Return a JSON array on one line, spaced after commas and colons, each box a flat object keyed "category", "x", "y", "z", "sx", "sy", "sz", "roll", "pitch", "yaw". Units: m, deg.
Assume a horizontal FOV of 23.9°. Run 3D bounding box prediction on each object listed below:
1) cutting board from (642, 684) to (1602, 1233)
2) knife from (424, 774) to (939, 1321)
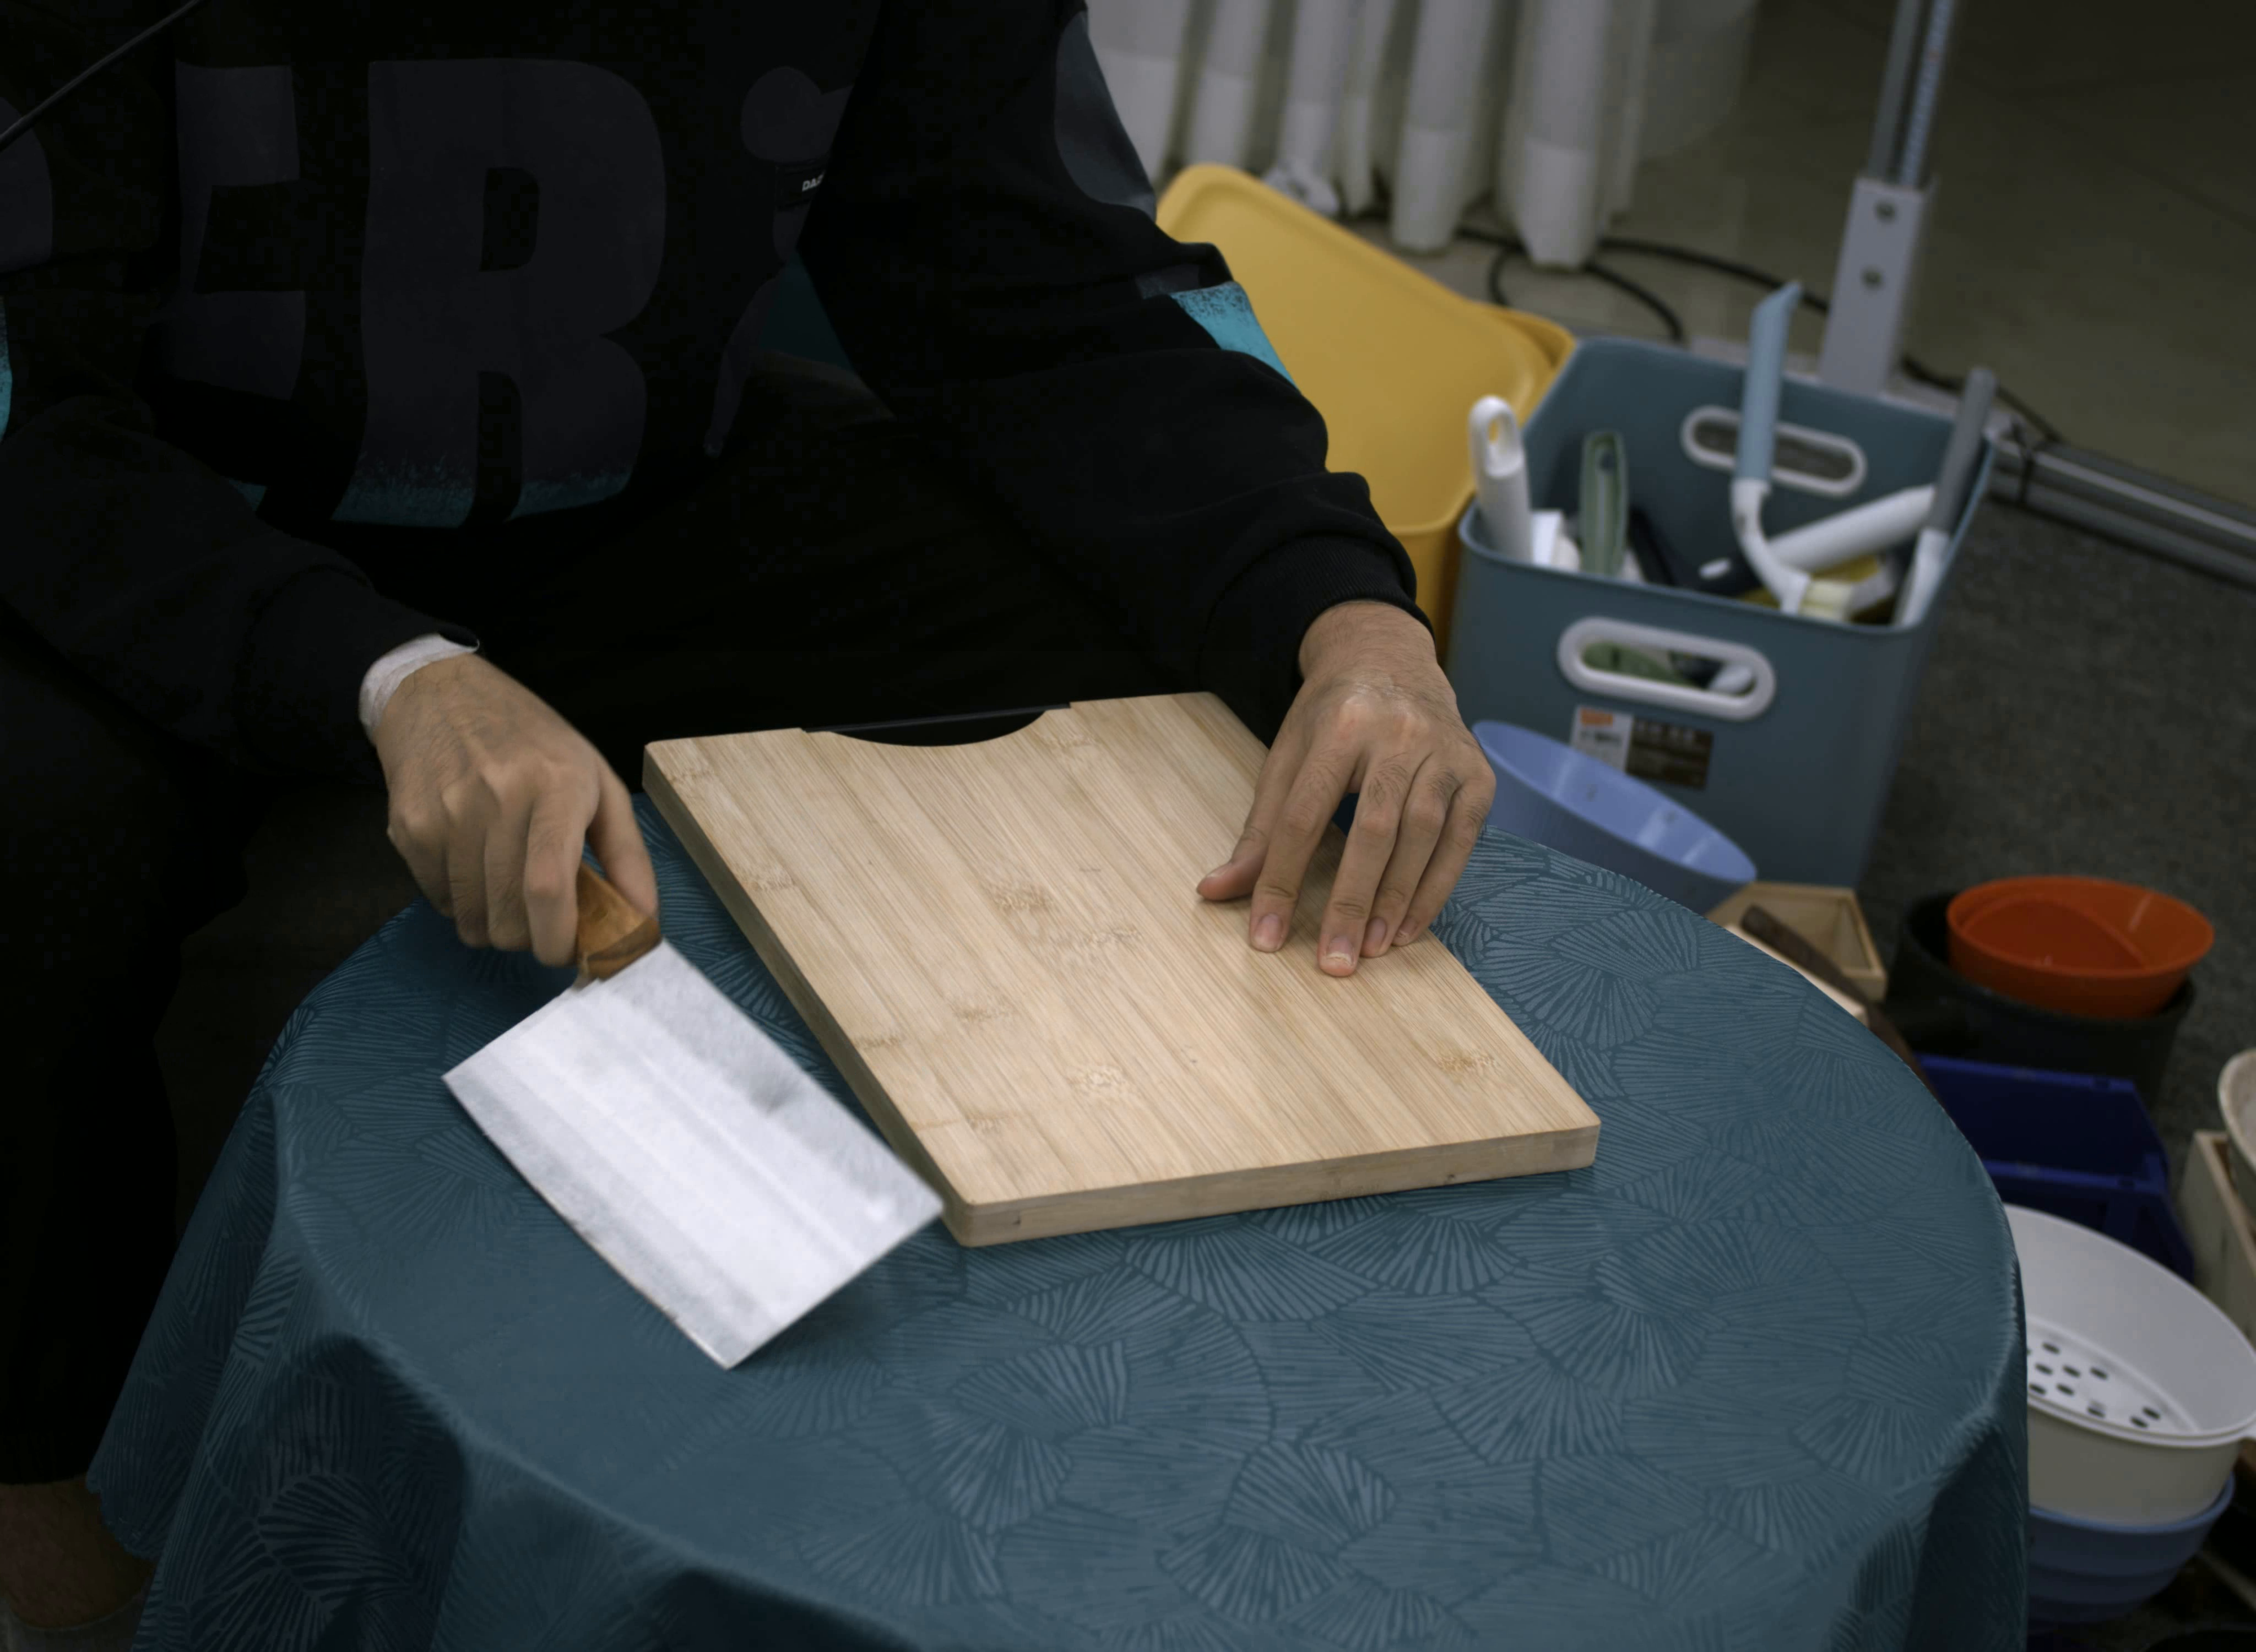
[{"category": "cutting board", "x": -0.011, "y": 0.042, "z": 1.942, "sx": 0.249, "sy": 0.023, "sz": 0.352, "roll": -6, "pitch": 30, "yaw": -23}, {"category": "knife", "x": -0.175, "y": 0.075, "z": 1.798, "sx": 0.093, "sy": 0.021, "sz": 0.308, "roll": -39, "pitch": 44, "yaw": -12}]
